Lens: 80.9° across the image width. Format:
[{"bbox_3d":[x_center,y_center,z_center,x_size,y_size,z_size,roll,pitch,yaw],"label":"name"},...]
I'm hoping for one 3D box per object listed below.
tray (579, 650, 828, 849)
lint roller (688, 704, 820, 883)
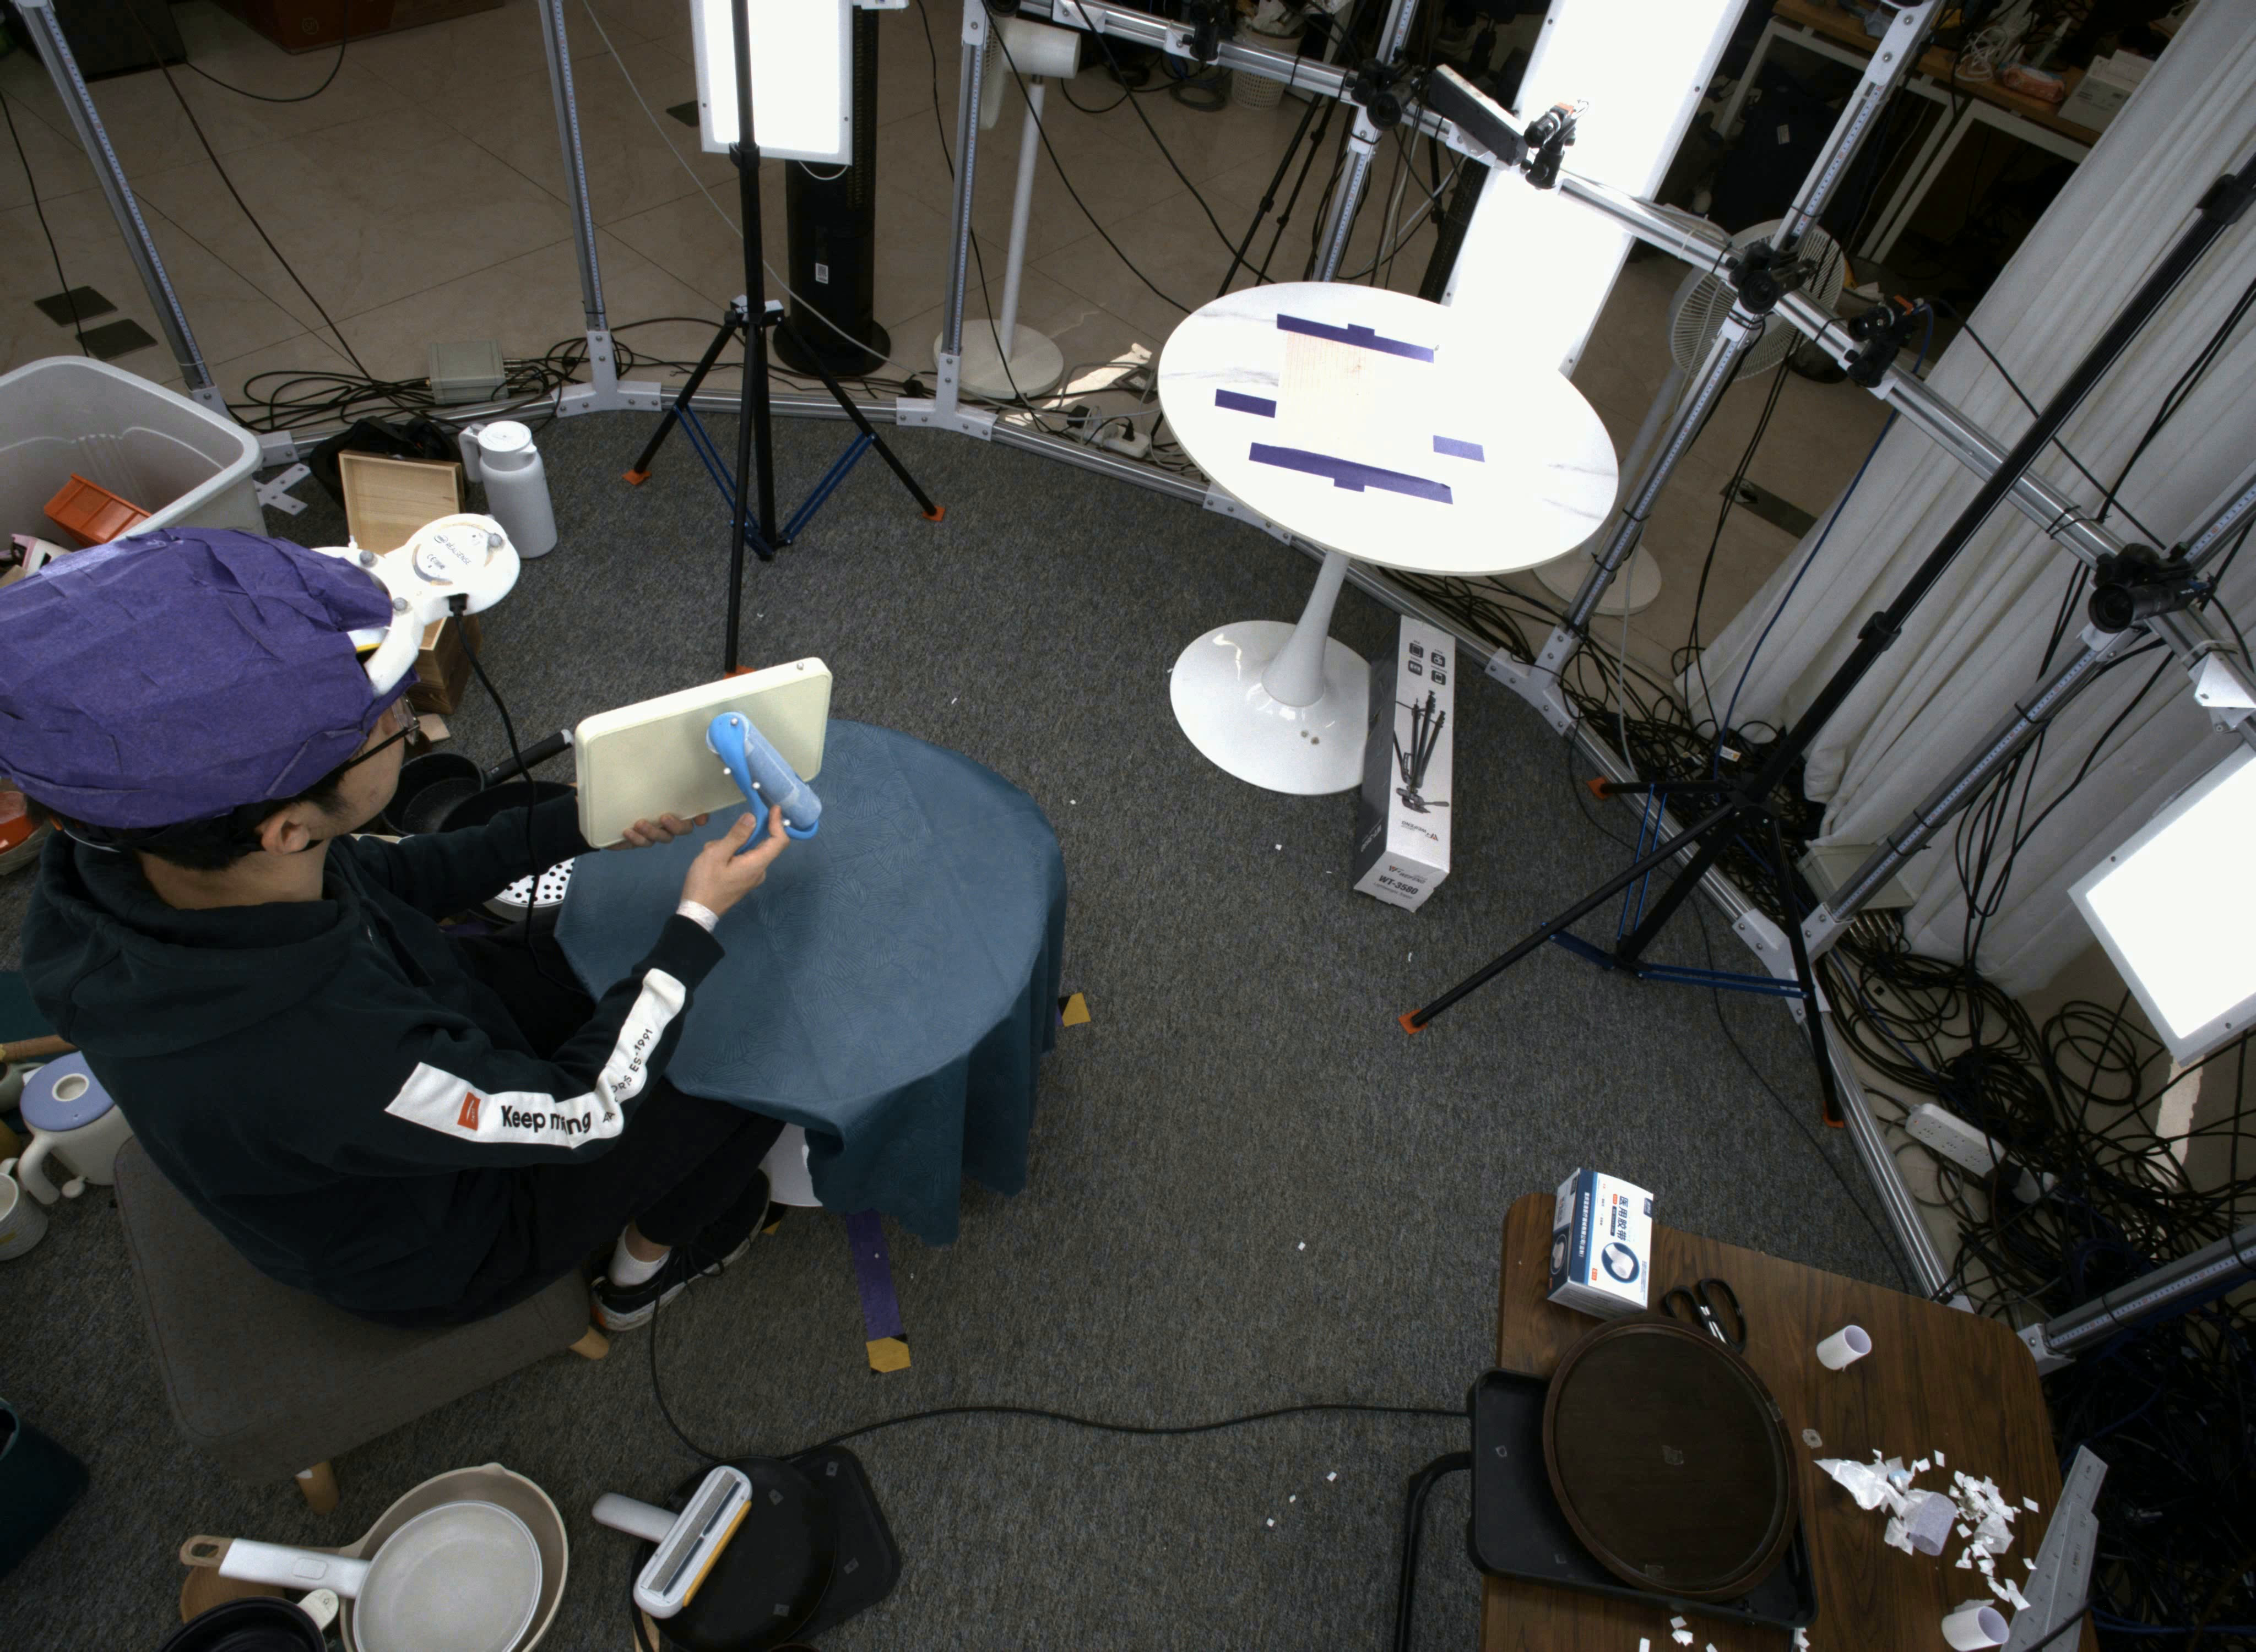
[{"bbox_3d":[-0.488,-0.089,1.484,0.302,0.195,0.026,-23,58,-35],"label":"tray"},{"bbox_3d":[-0.436,-0.014,1.470,0.066,0.235,0.180,13,72,17],"label":"lint roller"}]
